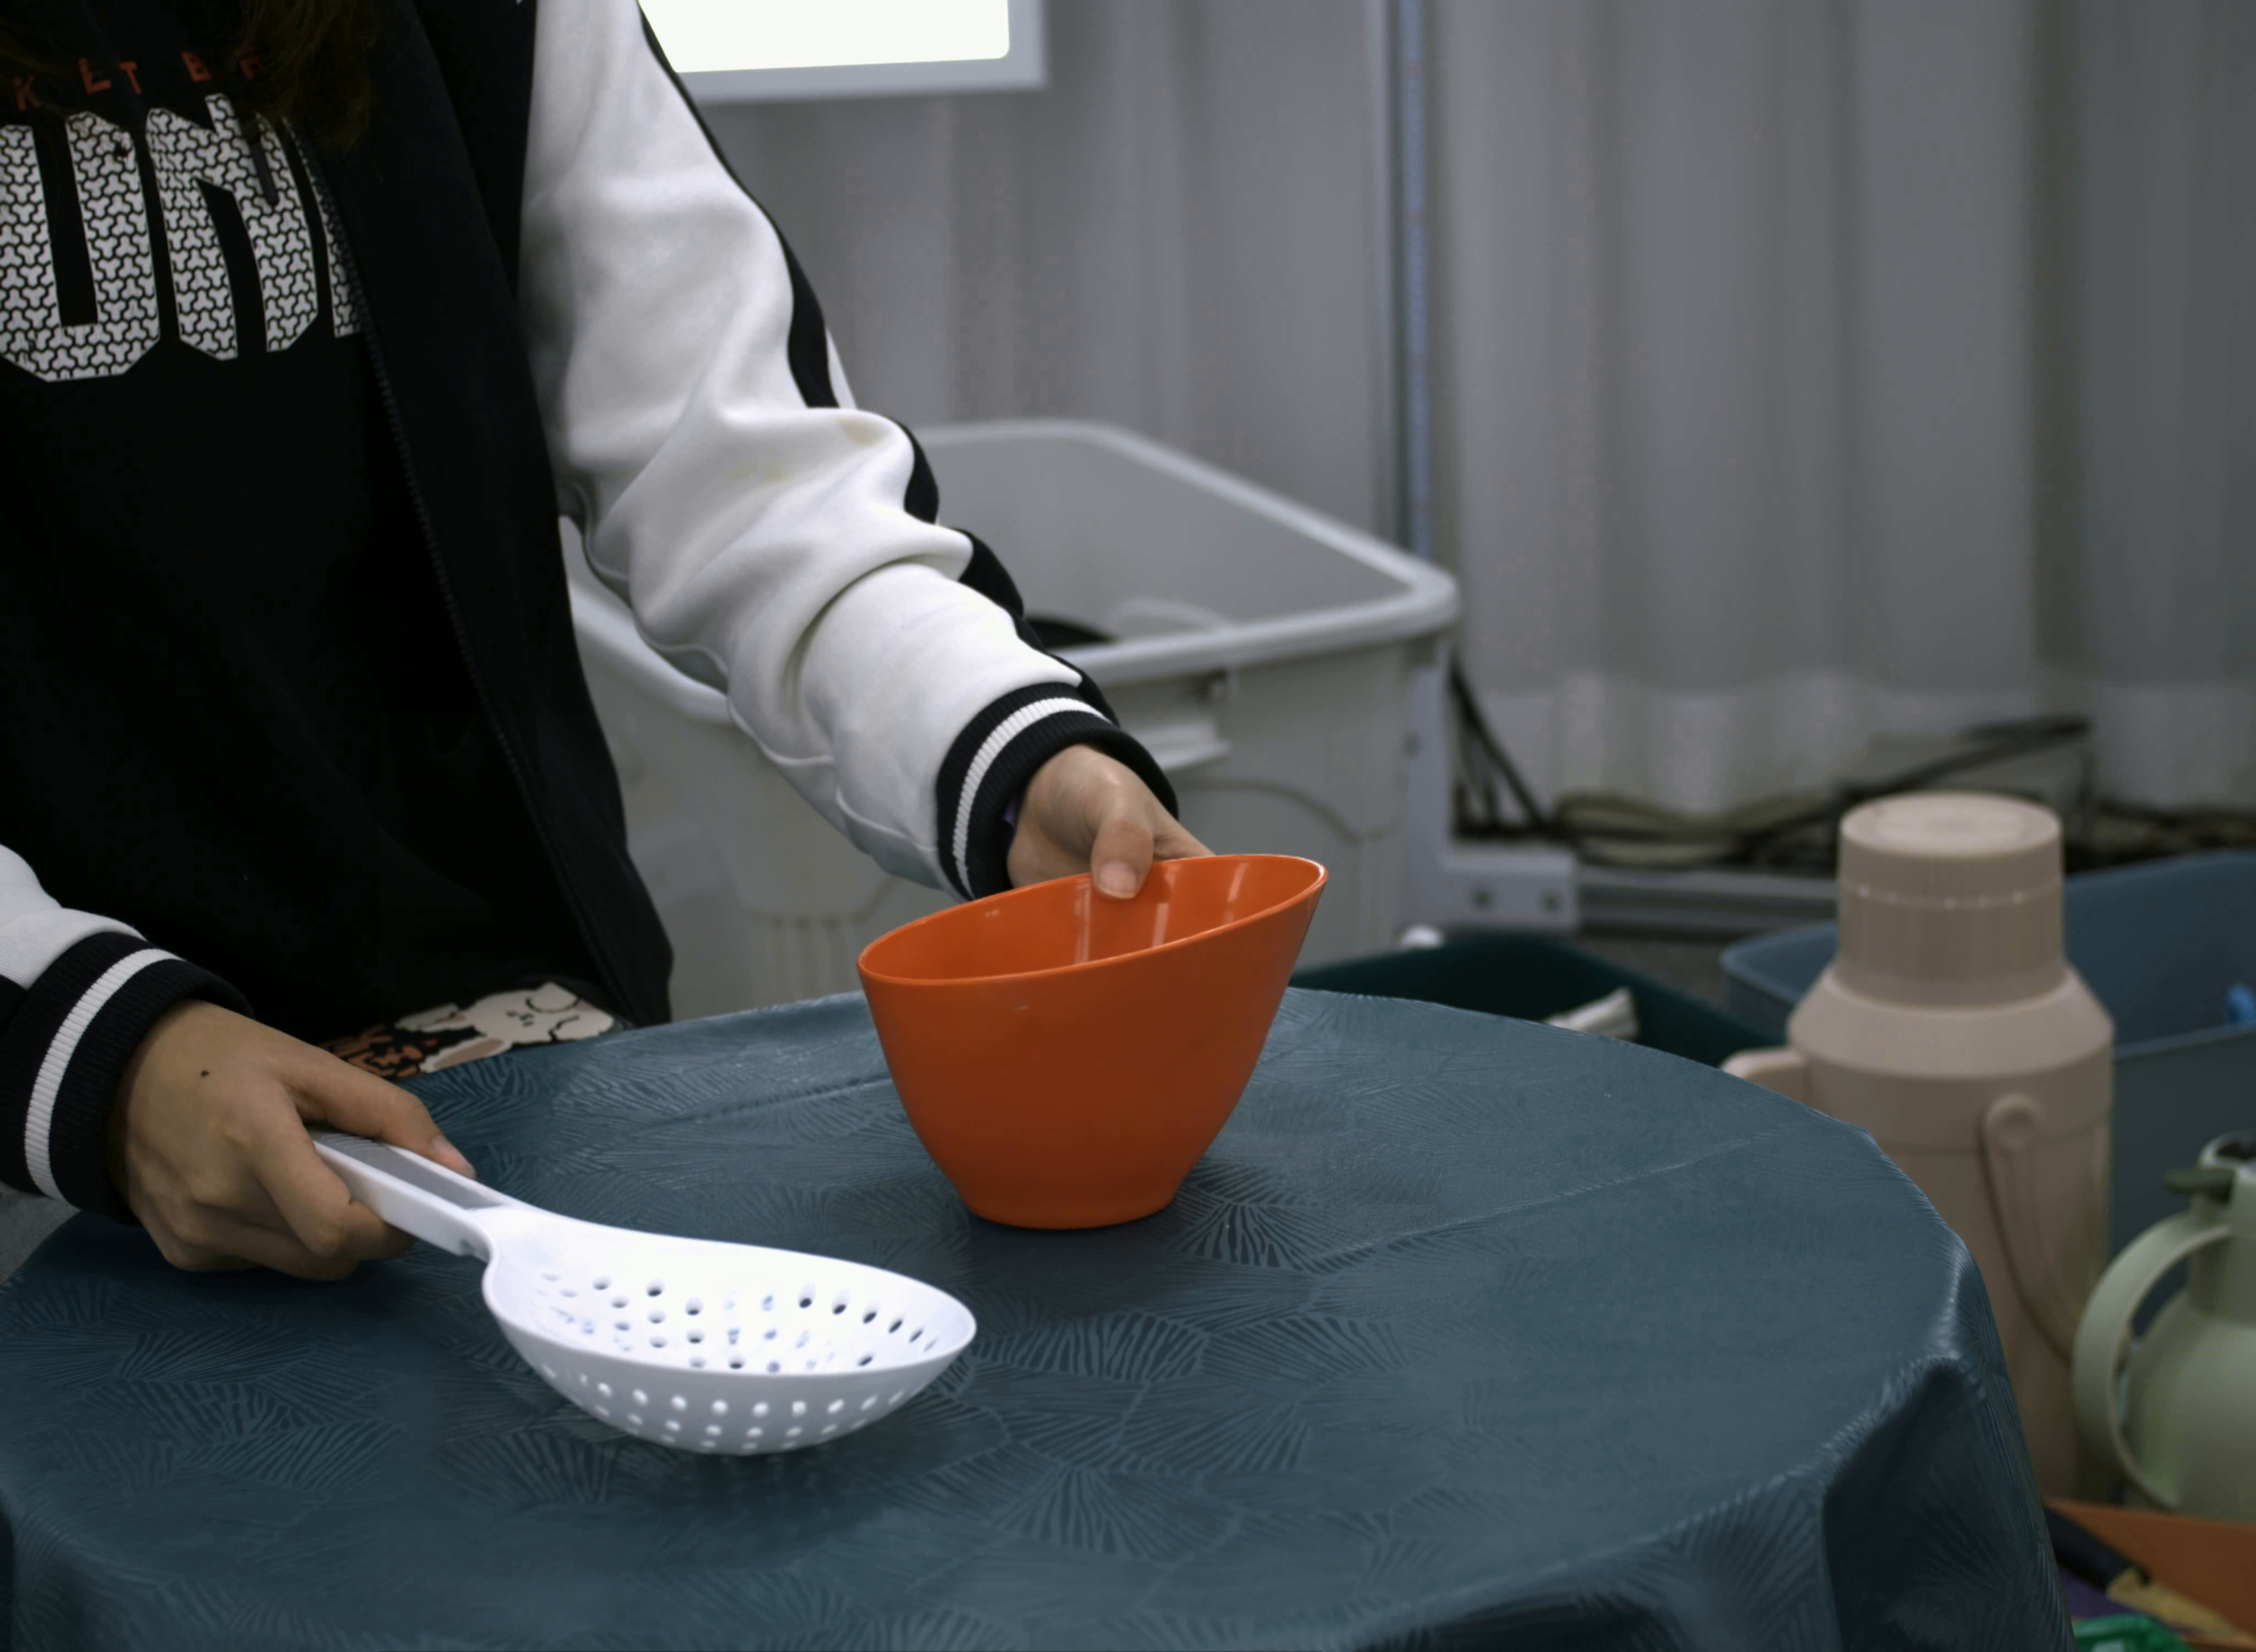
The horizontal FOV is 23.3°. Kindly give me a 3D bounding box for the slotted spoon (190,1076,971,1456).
[{"bbox_3d":[-0.179,0.120,1.595,0.135,0.045,0.353,-1,16,-39],"label":"slotted spoon"}]

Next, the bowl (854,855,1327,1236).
[{"bbox_3d":[-0.010,0.069,1.692,0.147,0.104,0.149,-3,14,0],"label":"bowl"}]
